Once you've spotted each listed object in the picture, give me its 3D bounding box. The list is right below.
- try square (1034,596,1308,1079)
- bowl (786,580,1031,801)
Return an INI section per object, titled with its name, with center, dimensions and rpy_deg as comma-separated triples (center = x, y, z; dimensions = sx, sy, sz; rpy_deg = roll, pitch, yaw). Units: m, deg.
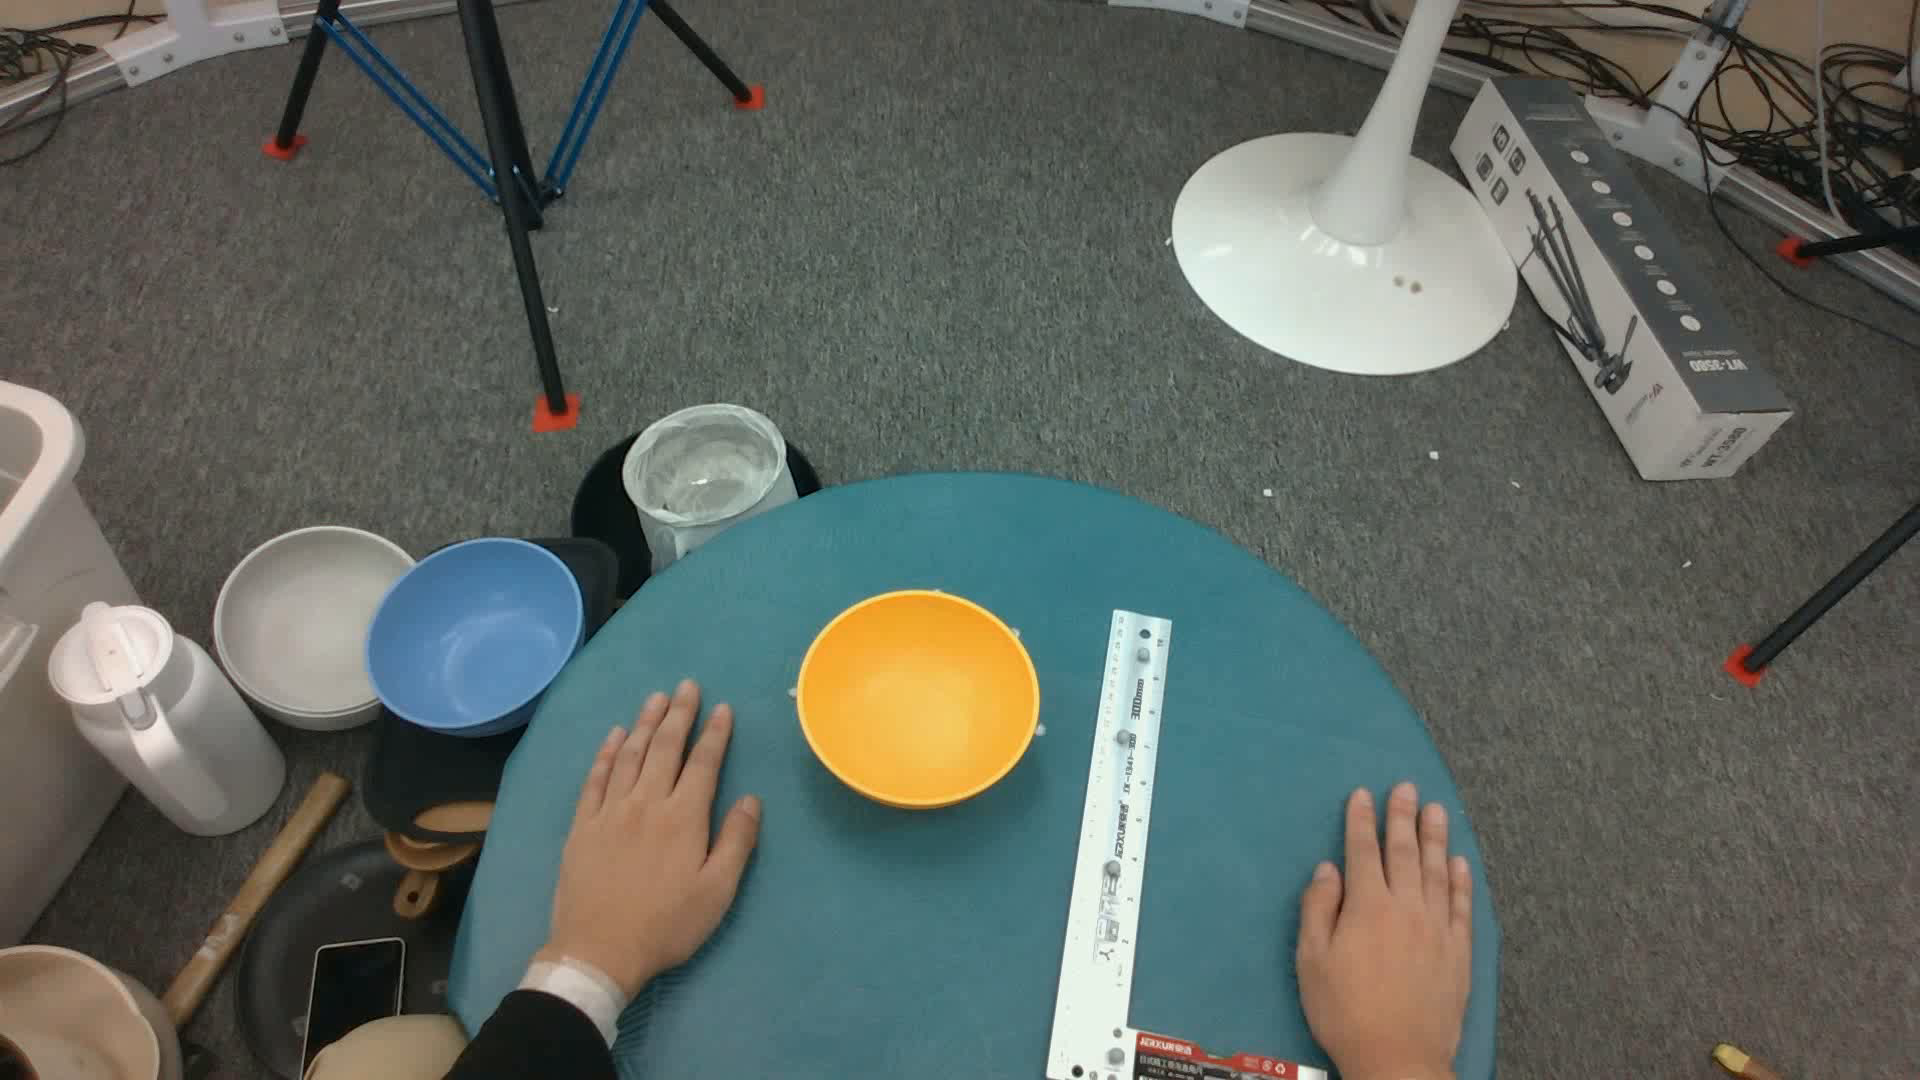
[try square]
center = 0.140, 0.179, 0.834
dimensions = 0.152, 0.016, 0.314
rpy_deg = 13, 54, -1
[bowl]
center = -0.031, 0.100, 0.840
dimensions = 0.145, 0.060, 0.146
rpy_deg = 1, 57, -2
